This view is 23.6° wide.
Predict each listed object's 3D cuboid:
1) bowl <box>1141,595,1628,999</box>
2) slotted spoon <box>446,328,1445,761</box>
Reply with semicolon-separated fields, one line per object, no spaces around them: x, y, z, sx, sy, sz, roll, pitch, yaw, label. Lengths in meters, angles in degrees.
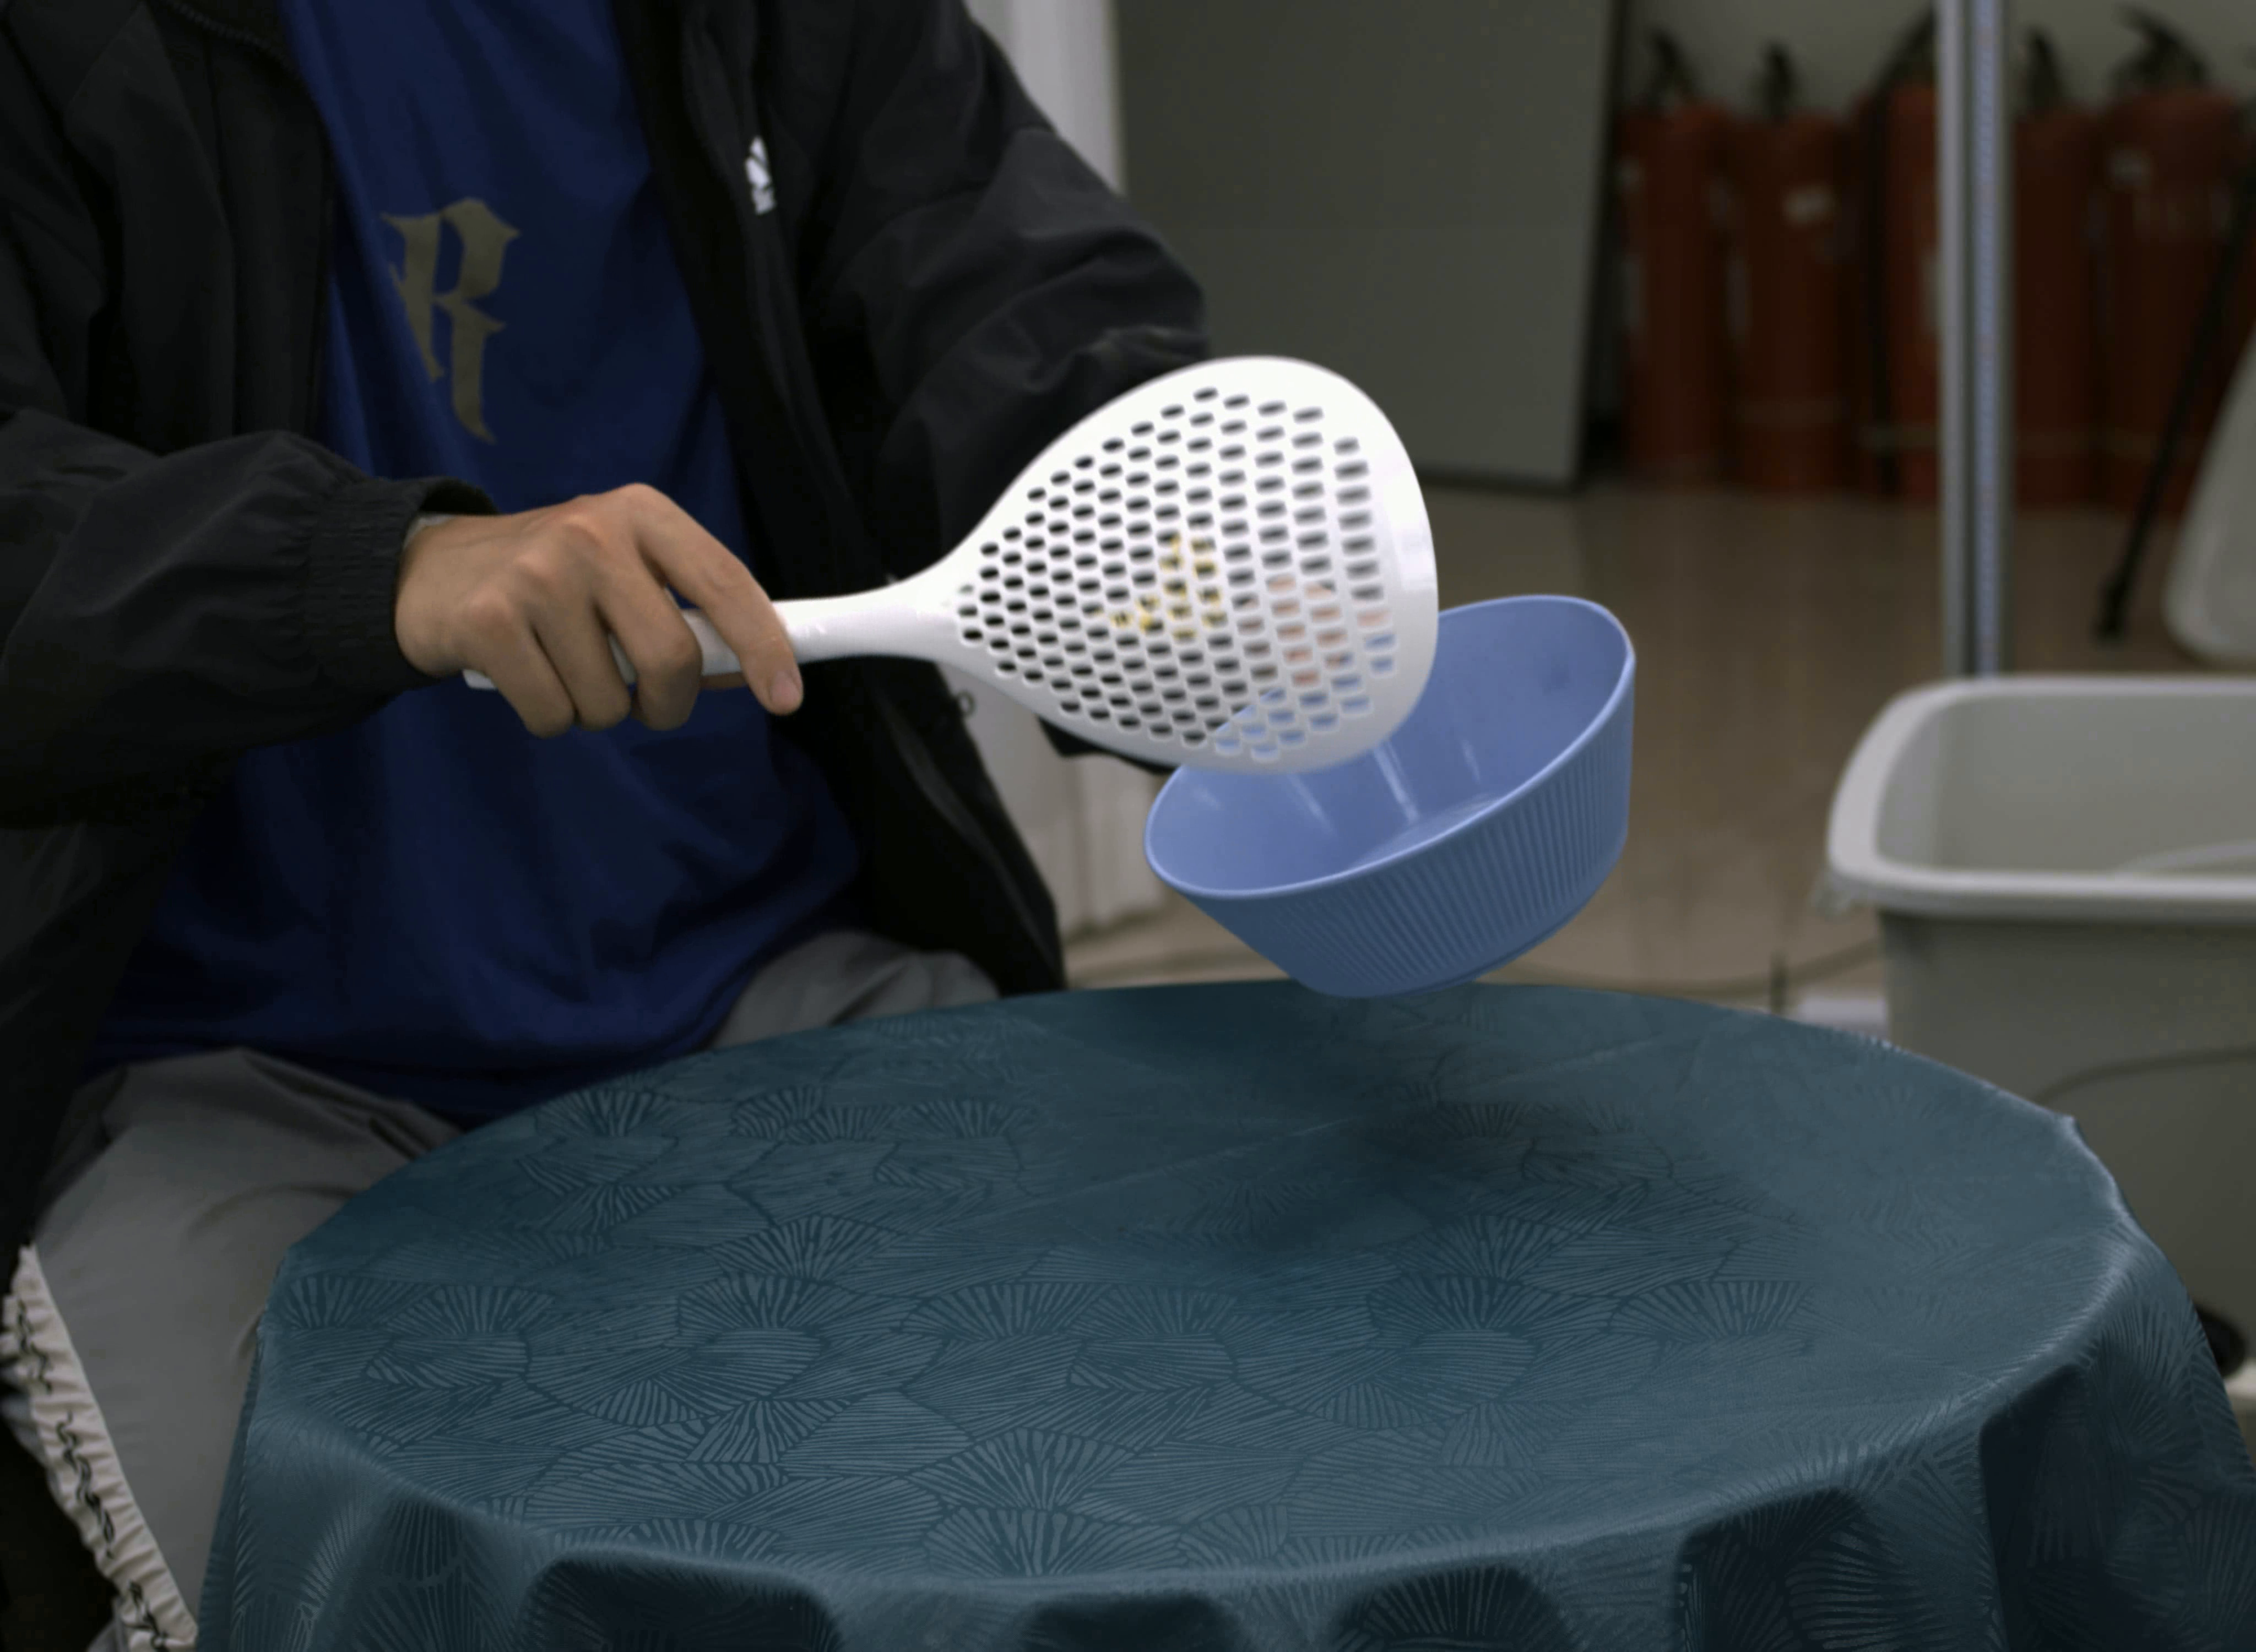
0.096;-0.002;1.767;0.175;0.070;0.176;-25;21;9;bowl
-0.064;-0.074;1.751;0.349;0.138;0.049;-6;8;28;slotted spoon
